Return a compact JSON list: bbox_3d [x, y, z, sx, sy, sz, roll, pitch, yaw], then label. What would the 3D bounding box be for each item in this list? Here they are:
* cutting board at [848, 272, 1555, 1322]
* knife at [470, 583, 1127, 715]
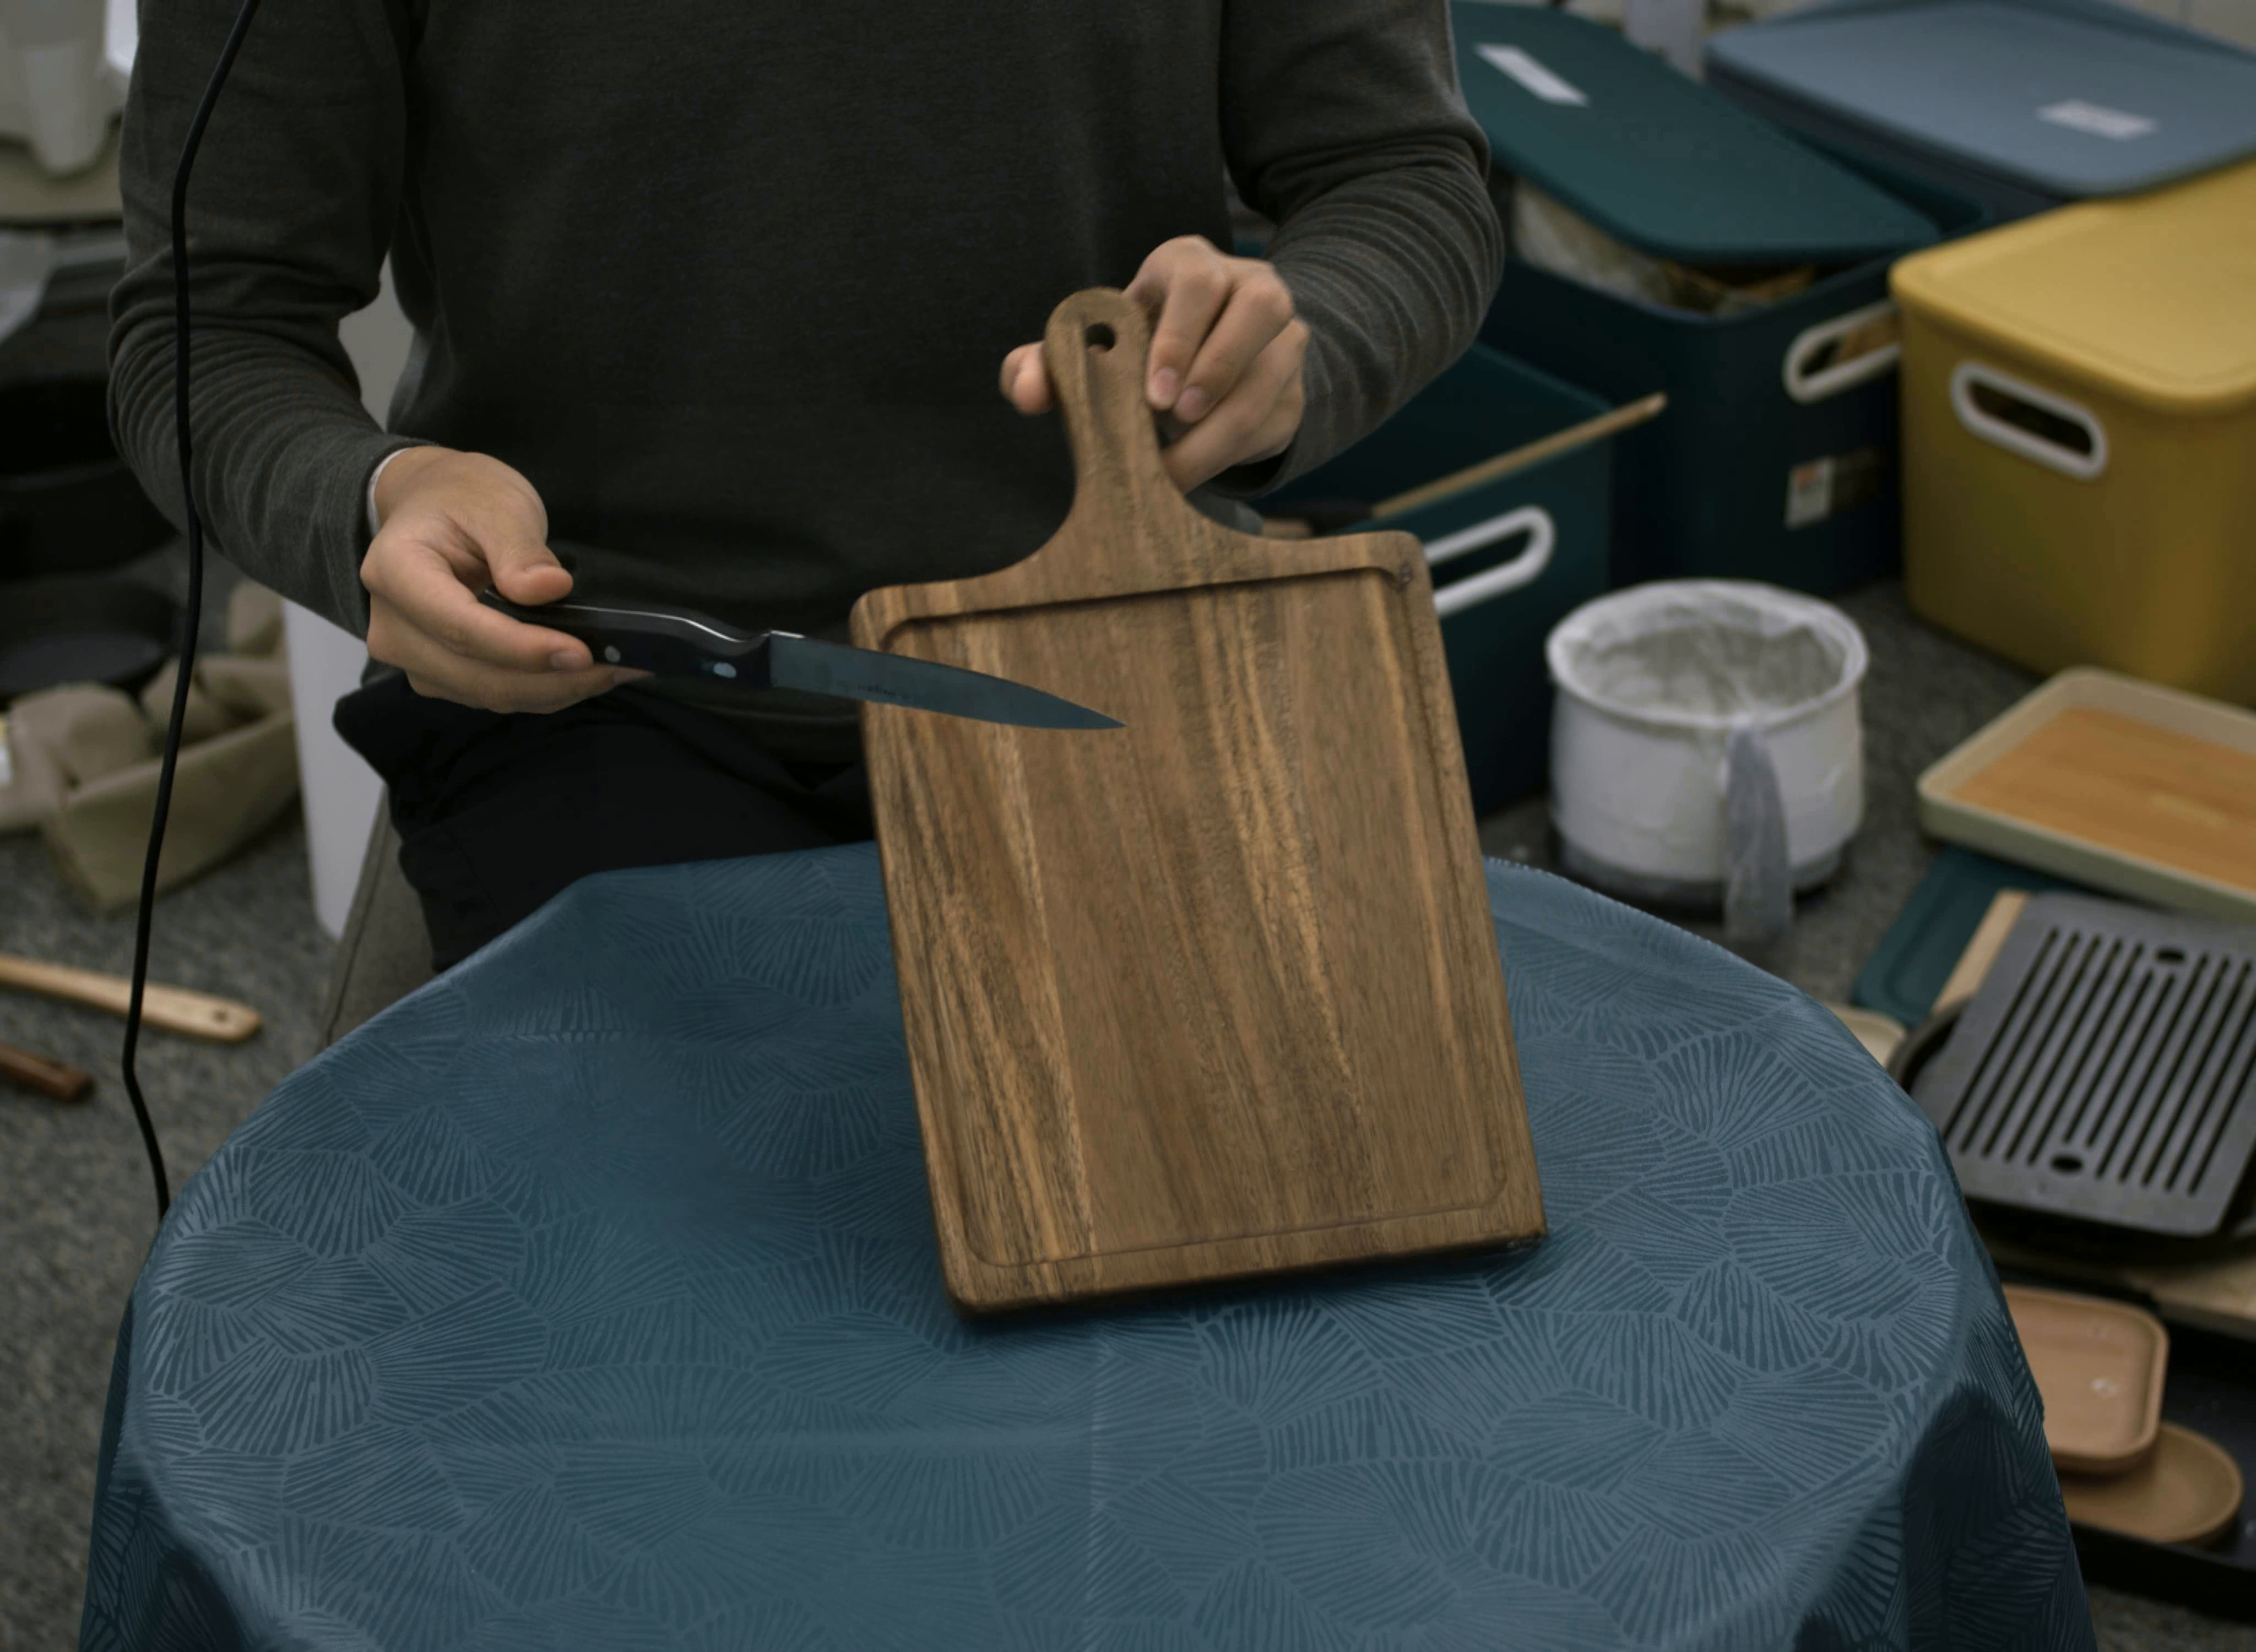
[{"bbox_3d":[0.015,-0.020,1.858,0.200,0.023,0.357,-6,70,-7],"label":"cutting board"},{"bbox_3d":[-0.108,-0.054,1.828,0.236,0.024,0.016,9,37,22],"label":"knife"}]
